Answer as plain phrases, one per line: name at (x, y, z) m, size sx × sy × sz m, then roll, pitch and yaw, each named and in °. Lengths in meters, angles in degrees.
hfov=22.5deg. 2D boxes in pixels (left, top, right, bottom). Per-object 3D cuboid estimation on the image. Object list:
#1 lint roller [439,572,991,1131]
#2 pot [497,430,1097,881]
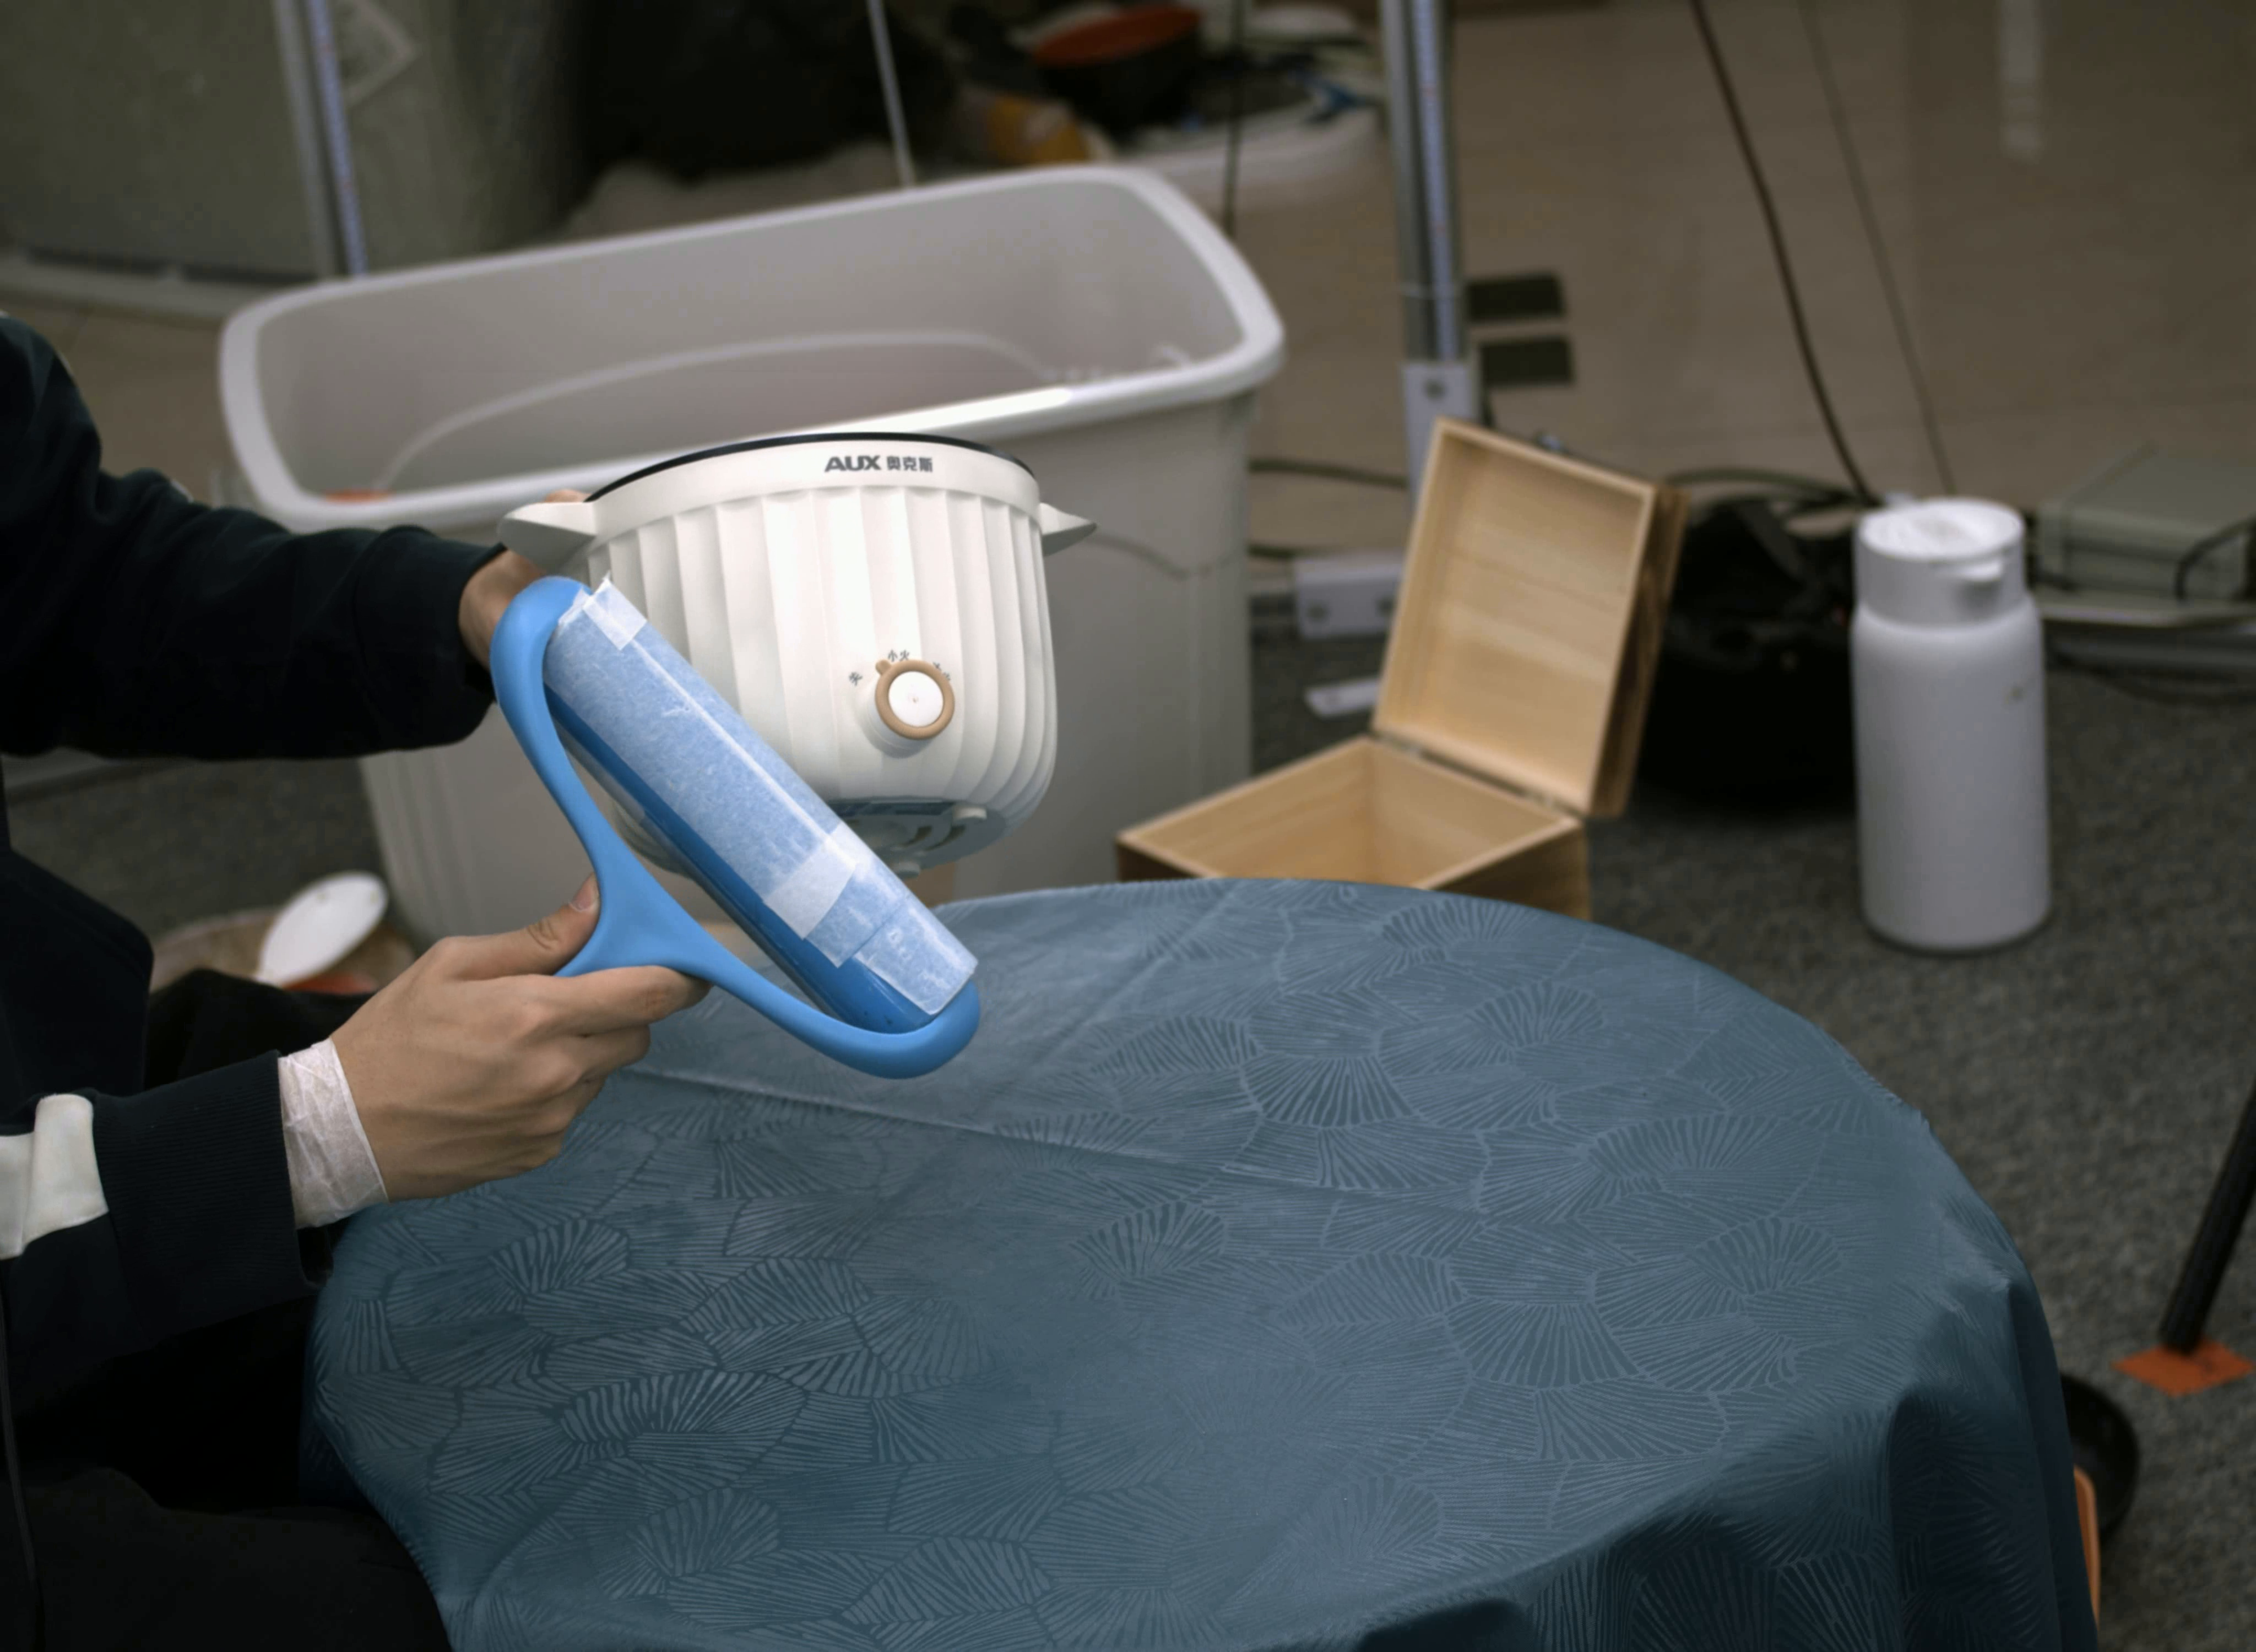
lint roller at (-0.173, 0.039, 2.017) m, size 0.179 × 0.230 × 0.068 m, roll -50°, pitch 10°, yaw -16°
pot at (-0.113, -0.057, 2.134) m, size 0.240 × 0.141 × 0.192 m, roll -2°, pitch -17°, yaw -23°
